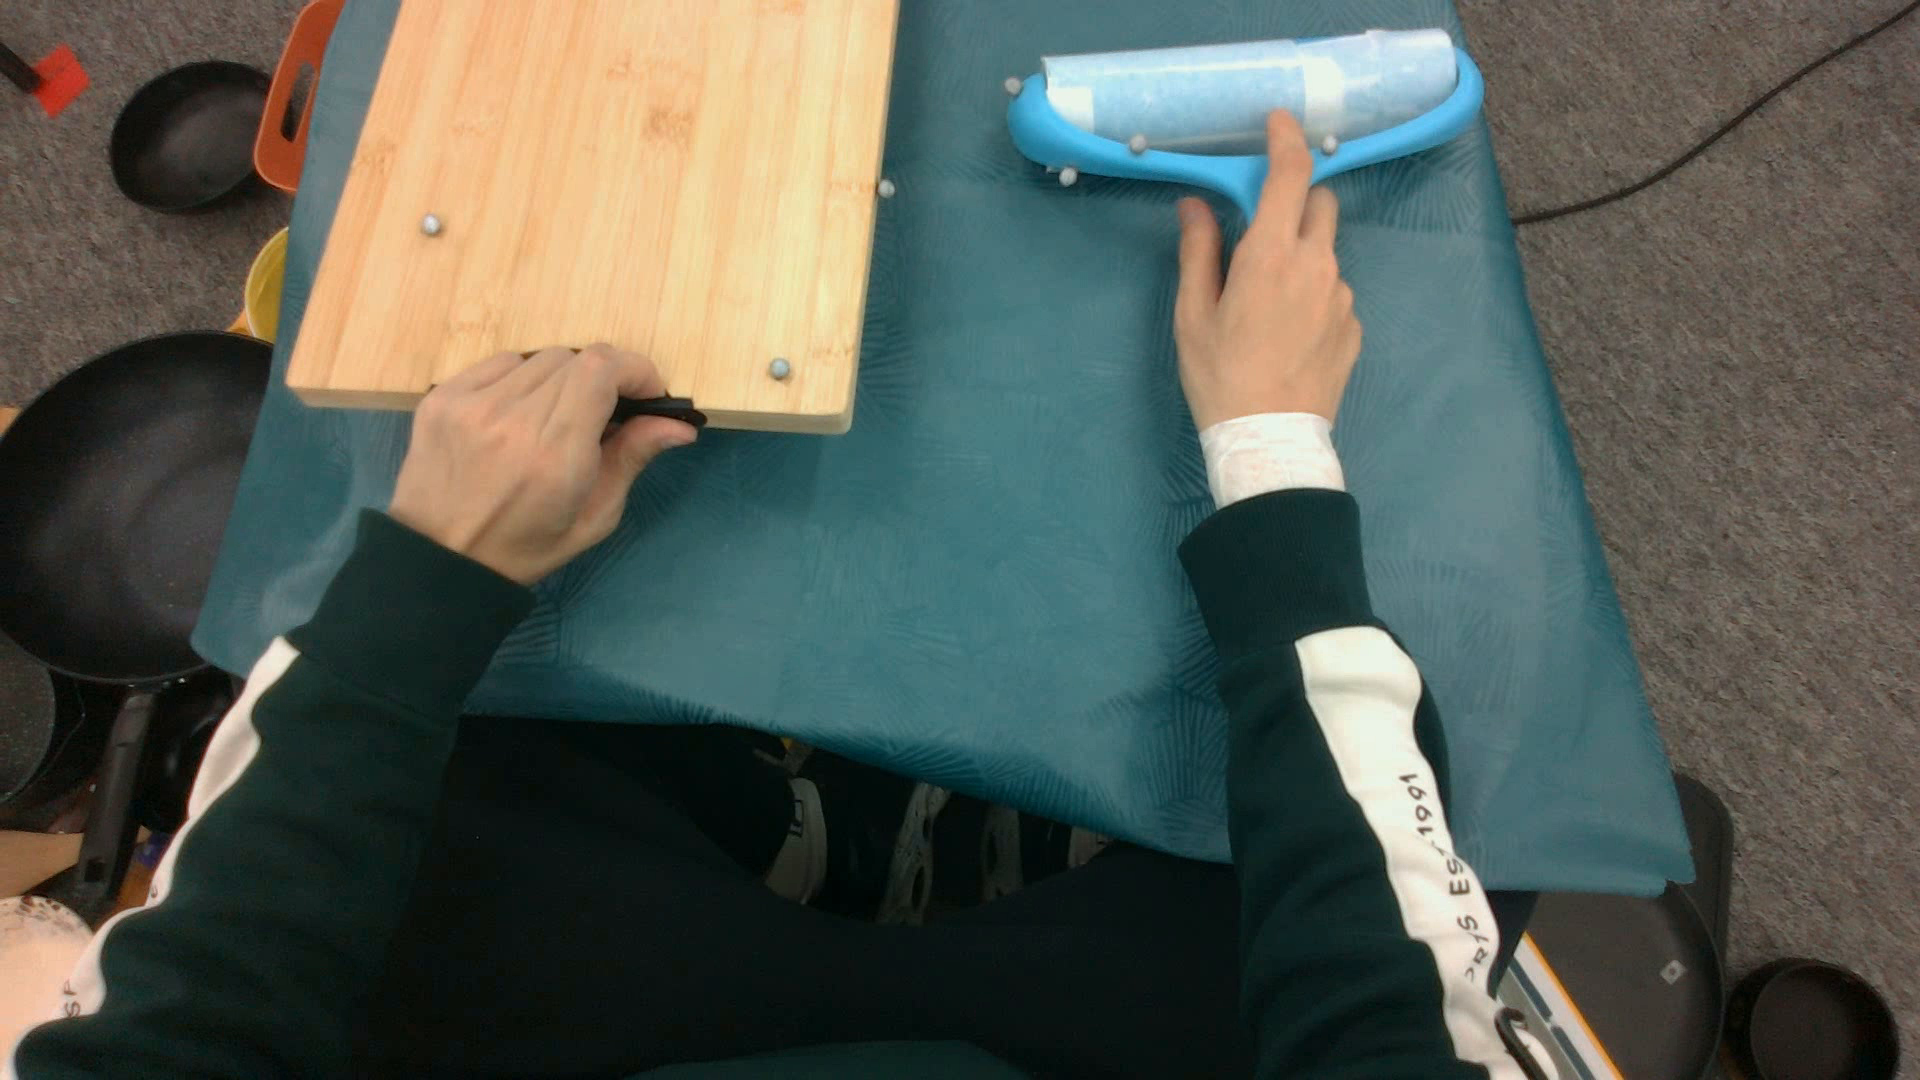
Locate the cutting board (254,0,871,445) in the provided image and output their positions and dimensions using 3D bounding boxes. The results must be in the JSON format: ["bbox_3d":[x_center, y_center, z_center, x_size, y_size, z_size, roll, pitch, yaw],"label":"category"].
[{"bbox_3d":[-0.169,-0.203,0.653,0.250,0.023,0.350,0,66,2],"label":"cutting board"}]

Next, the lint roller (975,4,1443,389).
[{"bbox_3d":[0.131,-0.168,0.664,0.229,0.068,0.180,-9,77,-3],"label":"lint roller"}]
